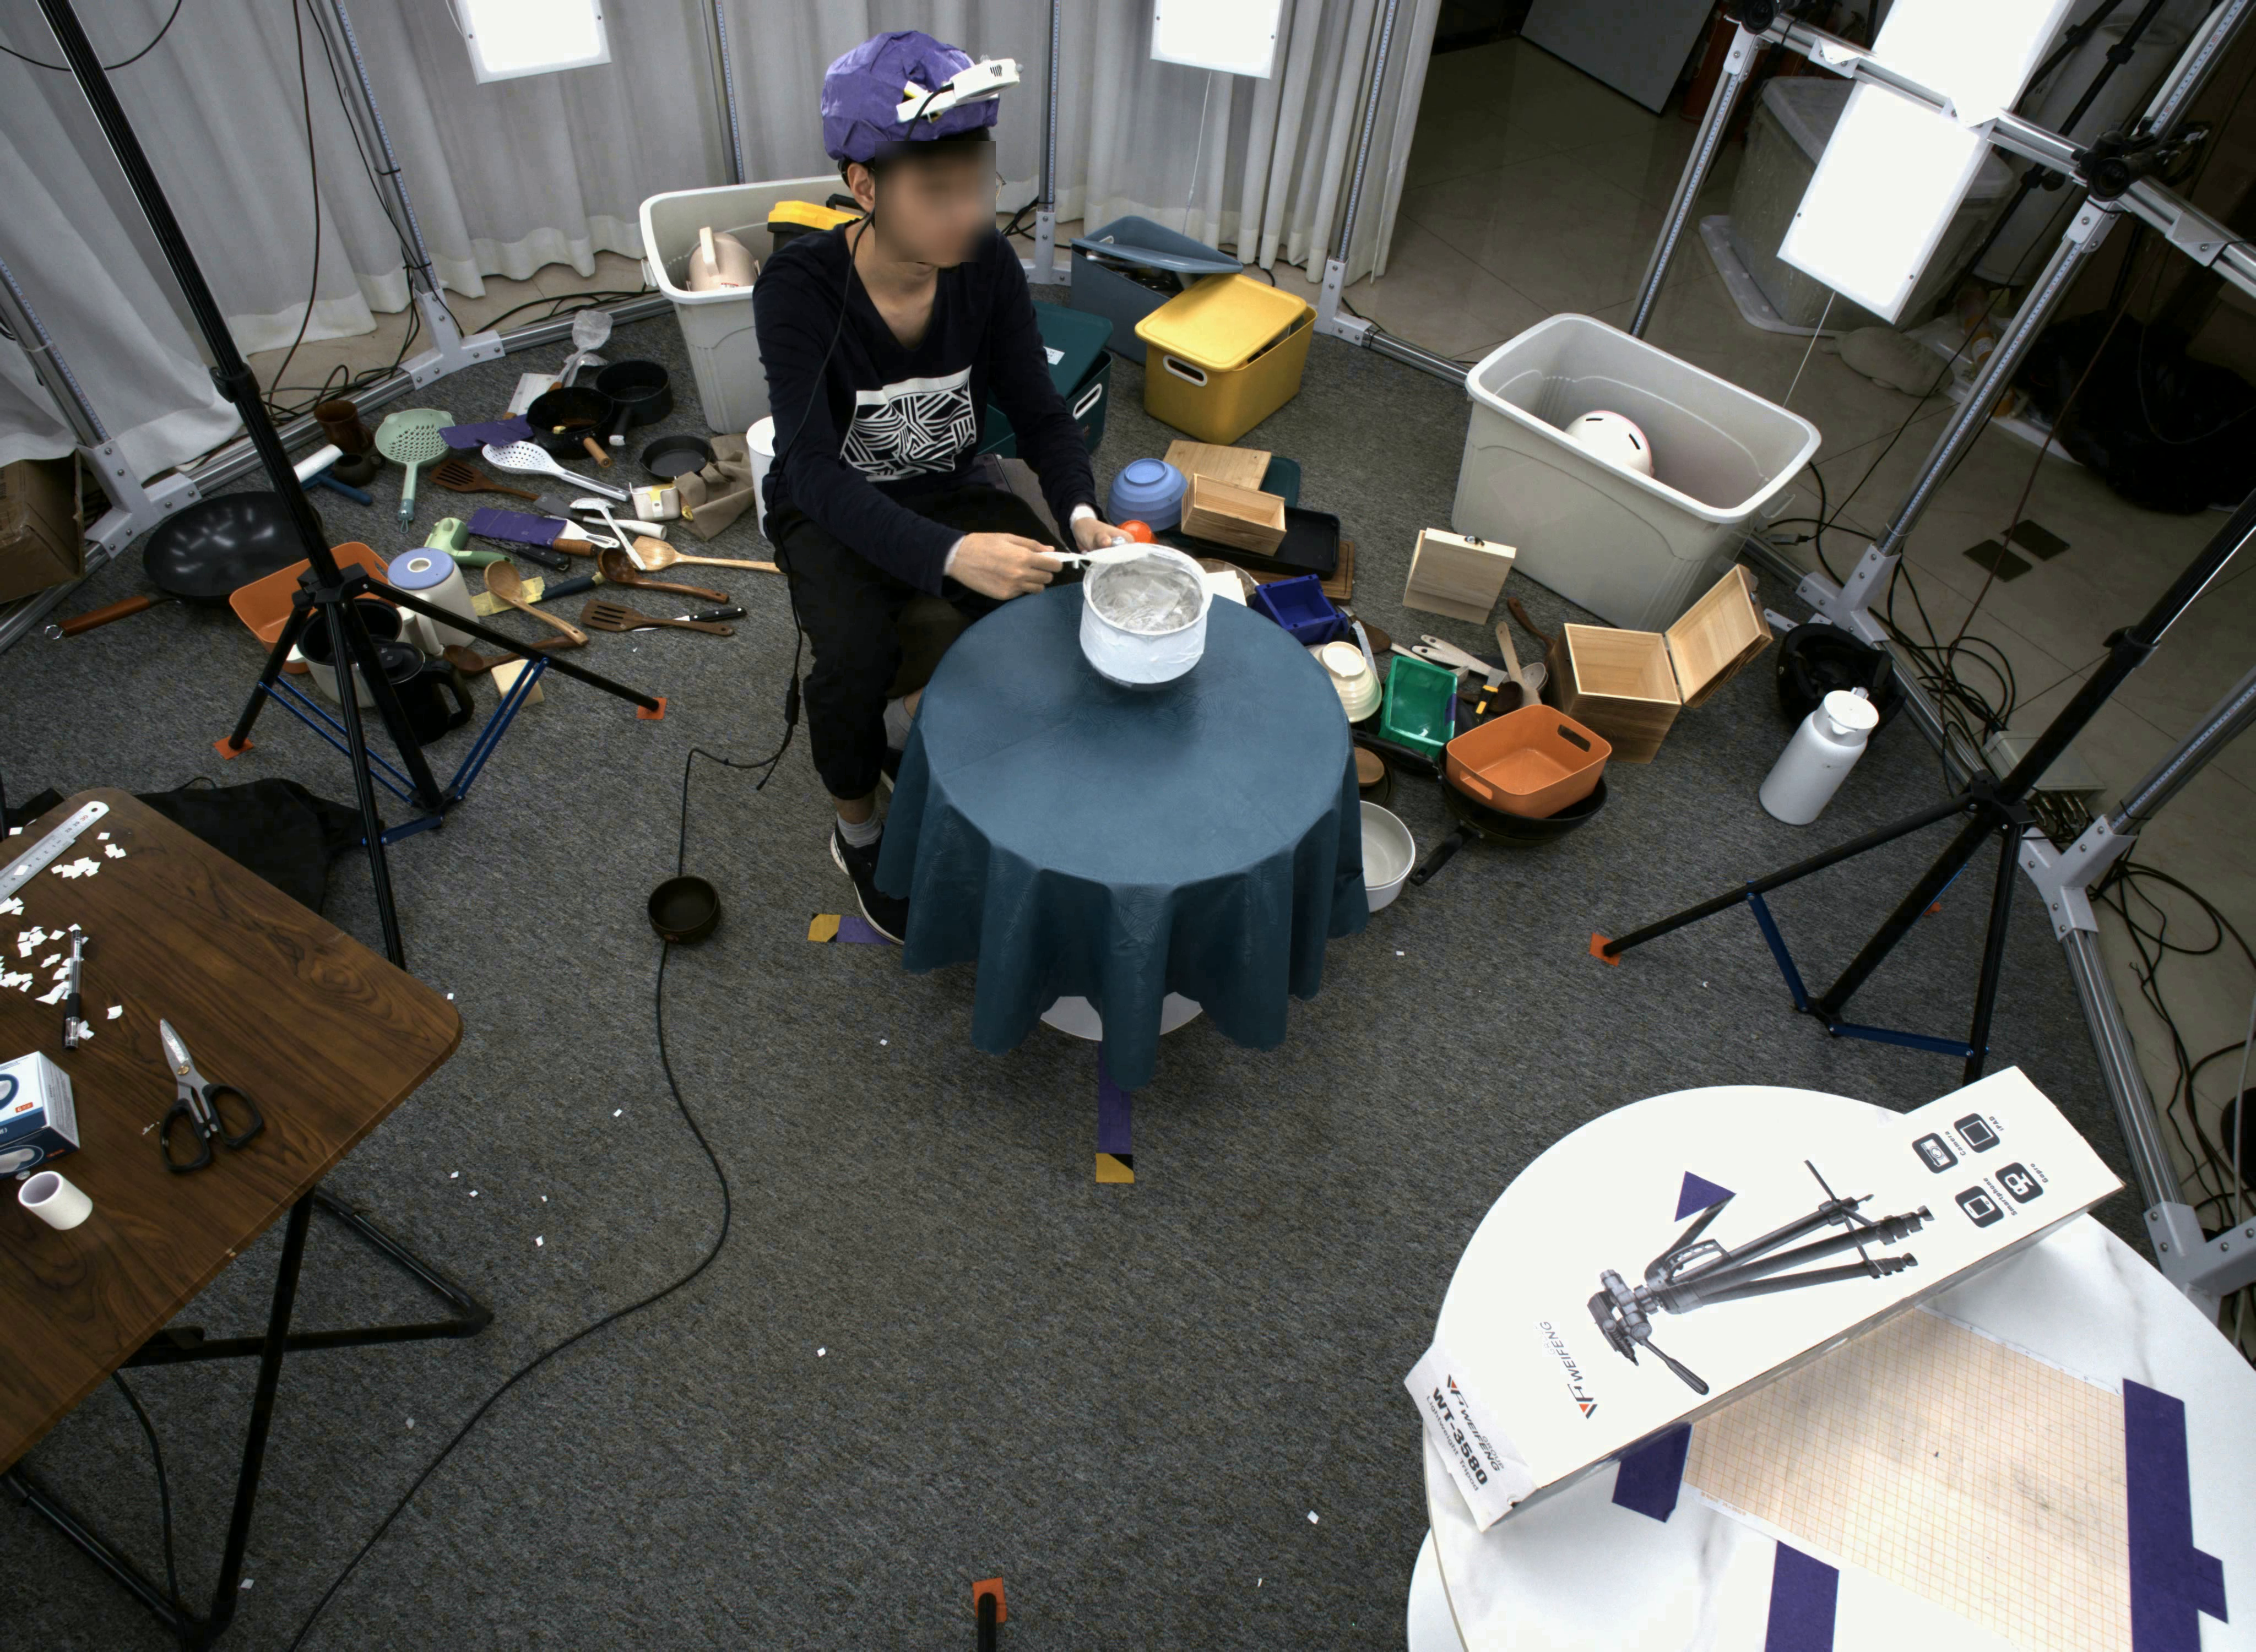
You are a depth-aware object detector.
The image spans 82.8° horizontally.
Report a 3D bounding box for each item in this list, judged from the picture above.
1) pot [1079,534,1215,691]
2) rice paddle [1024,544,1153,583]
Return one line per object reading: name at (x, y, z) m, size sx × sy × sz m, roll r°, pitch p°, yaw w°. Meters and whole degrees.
pot at (0.011, -0.308, 1.802) m, size 0.179 × 0.133 × 0.239 m, roll -17°, pitch 58°, yaw -20°
rice paddle at (-0.049, -0.360, 1.720) m, size 0.206 × 0.029 × 0.069 m, roll -23°, pitch 21°, yaw -36°
